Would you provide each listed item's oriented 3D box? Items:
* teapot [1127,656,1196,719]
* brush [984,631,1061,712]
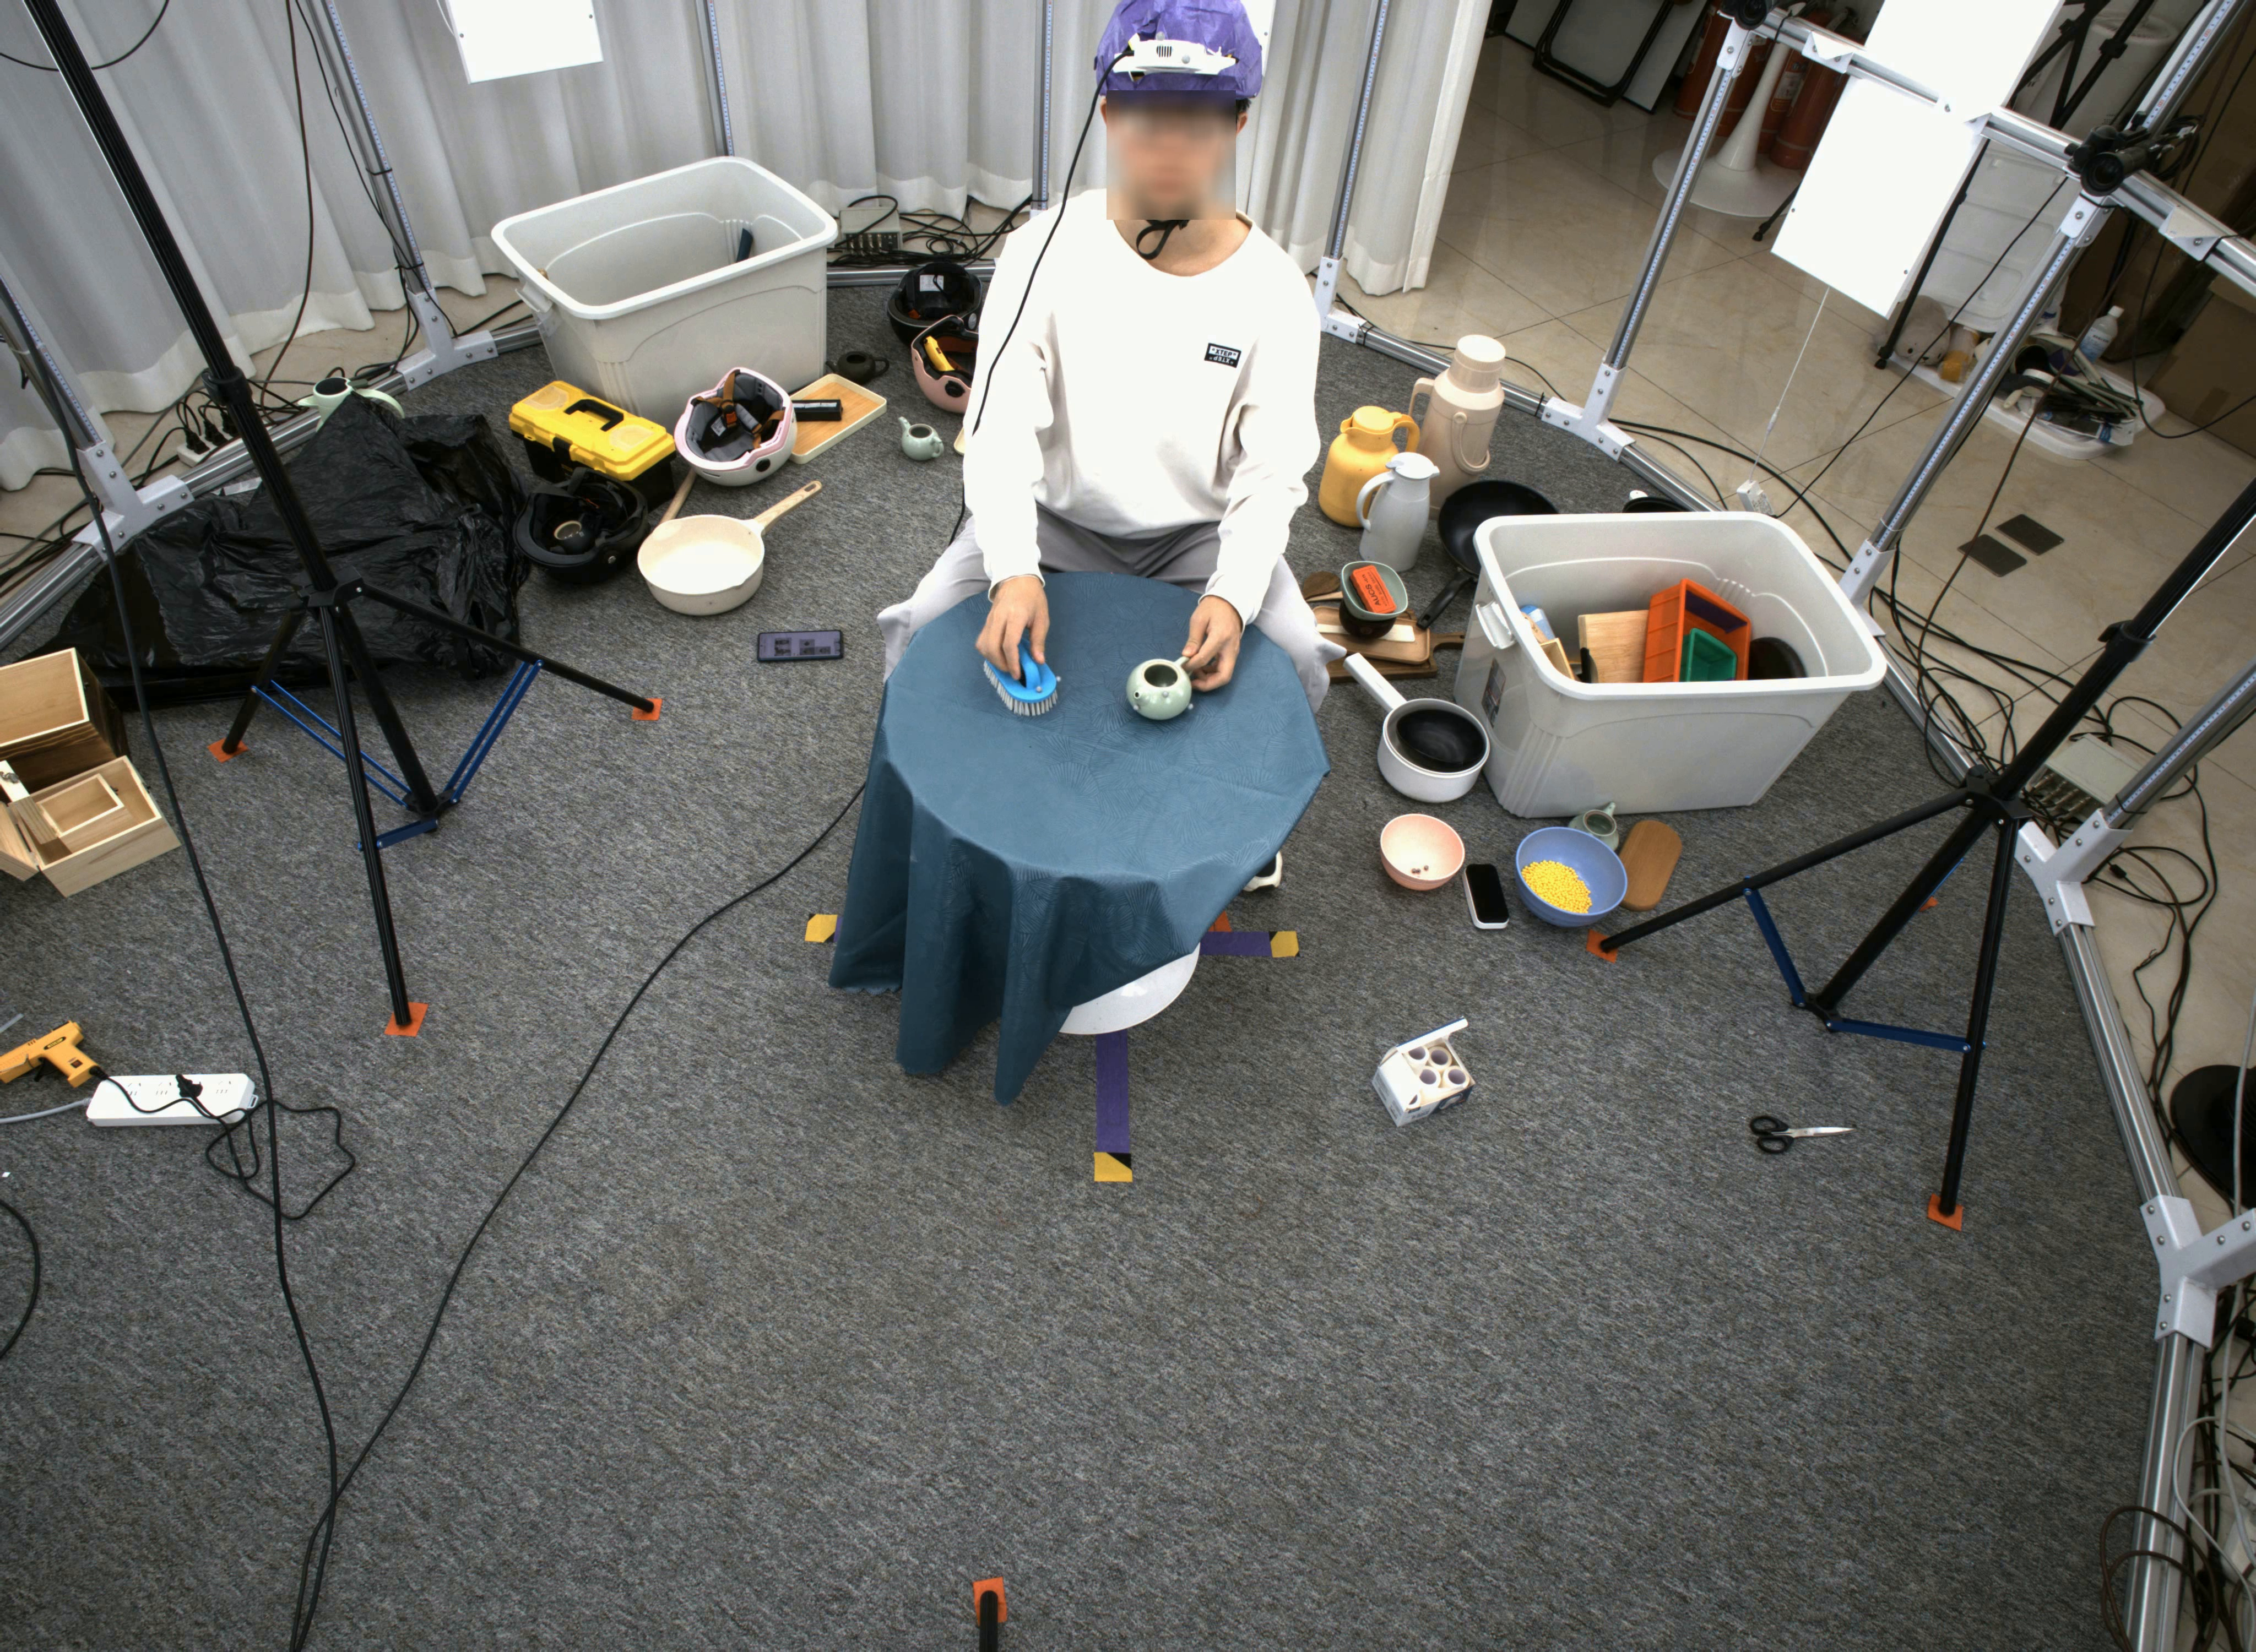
[{"bbox_3d":[0.051,-0.197,1.801,0.129,0.059,0.093,-35,56,-31],"label":"teapot"},{"bbox_3d":[-0.151,-0.227,1.808,0.084,0.062,0.145,-22,53,-16],"label":"brush"}]
